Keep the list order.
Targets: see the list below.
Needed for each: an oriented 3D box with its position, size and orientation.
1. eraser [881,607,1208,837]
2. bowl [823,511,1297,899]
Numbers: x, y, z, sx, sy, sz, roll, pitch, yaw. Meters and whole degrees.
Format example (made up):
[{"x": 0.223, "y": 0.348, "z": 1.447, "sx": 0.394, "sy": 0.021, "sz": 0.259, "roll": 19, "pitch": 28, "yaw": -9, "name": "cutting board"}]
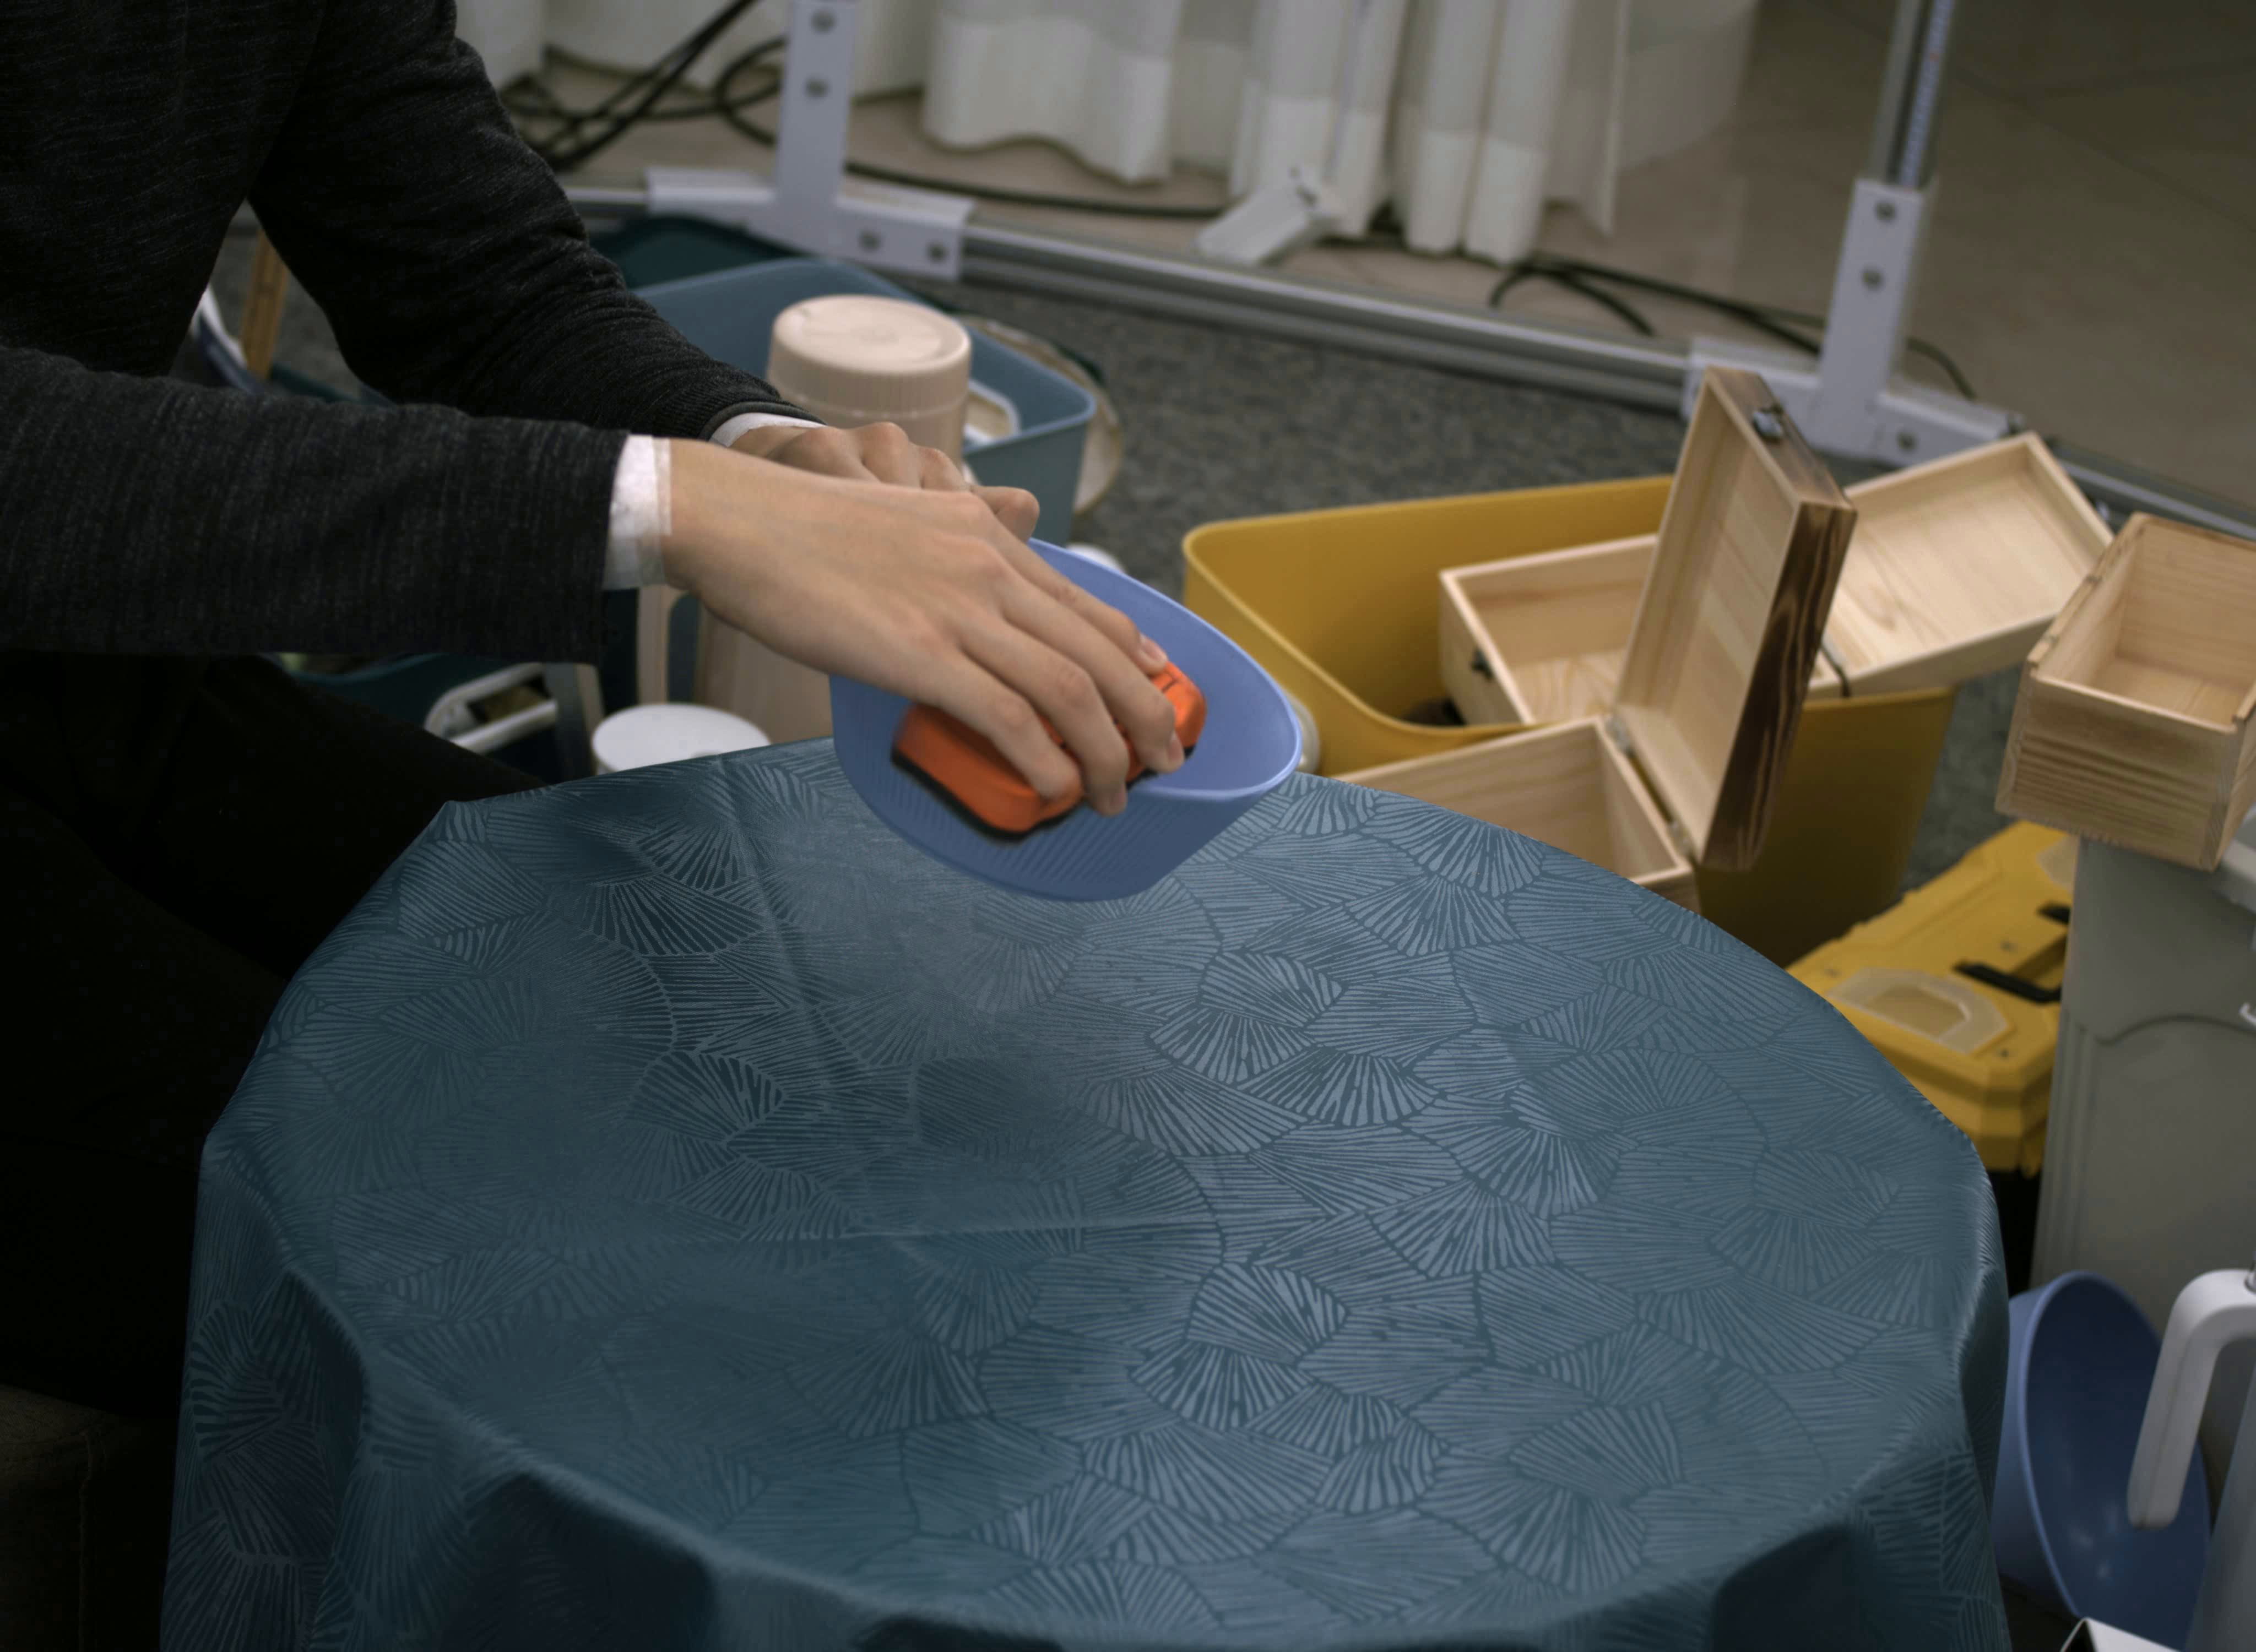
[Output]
[{"x": -0.026, "y": -0.034, "z": 1.720, "sx": 0.059, "sy": 0.023, "sz": 0.107, "roll": 39, "pitch": 38, "yaw": 21, "name": "eraser"}, {"x": -0.034, "y": -0.034, "z": 1.815, "sx": 0.175, "sy": 0.070, "sz": 0.177, "roll": 21, "pitch": 24, "yaw": -10, "name": "bowl"}]
